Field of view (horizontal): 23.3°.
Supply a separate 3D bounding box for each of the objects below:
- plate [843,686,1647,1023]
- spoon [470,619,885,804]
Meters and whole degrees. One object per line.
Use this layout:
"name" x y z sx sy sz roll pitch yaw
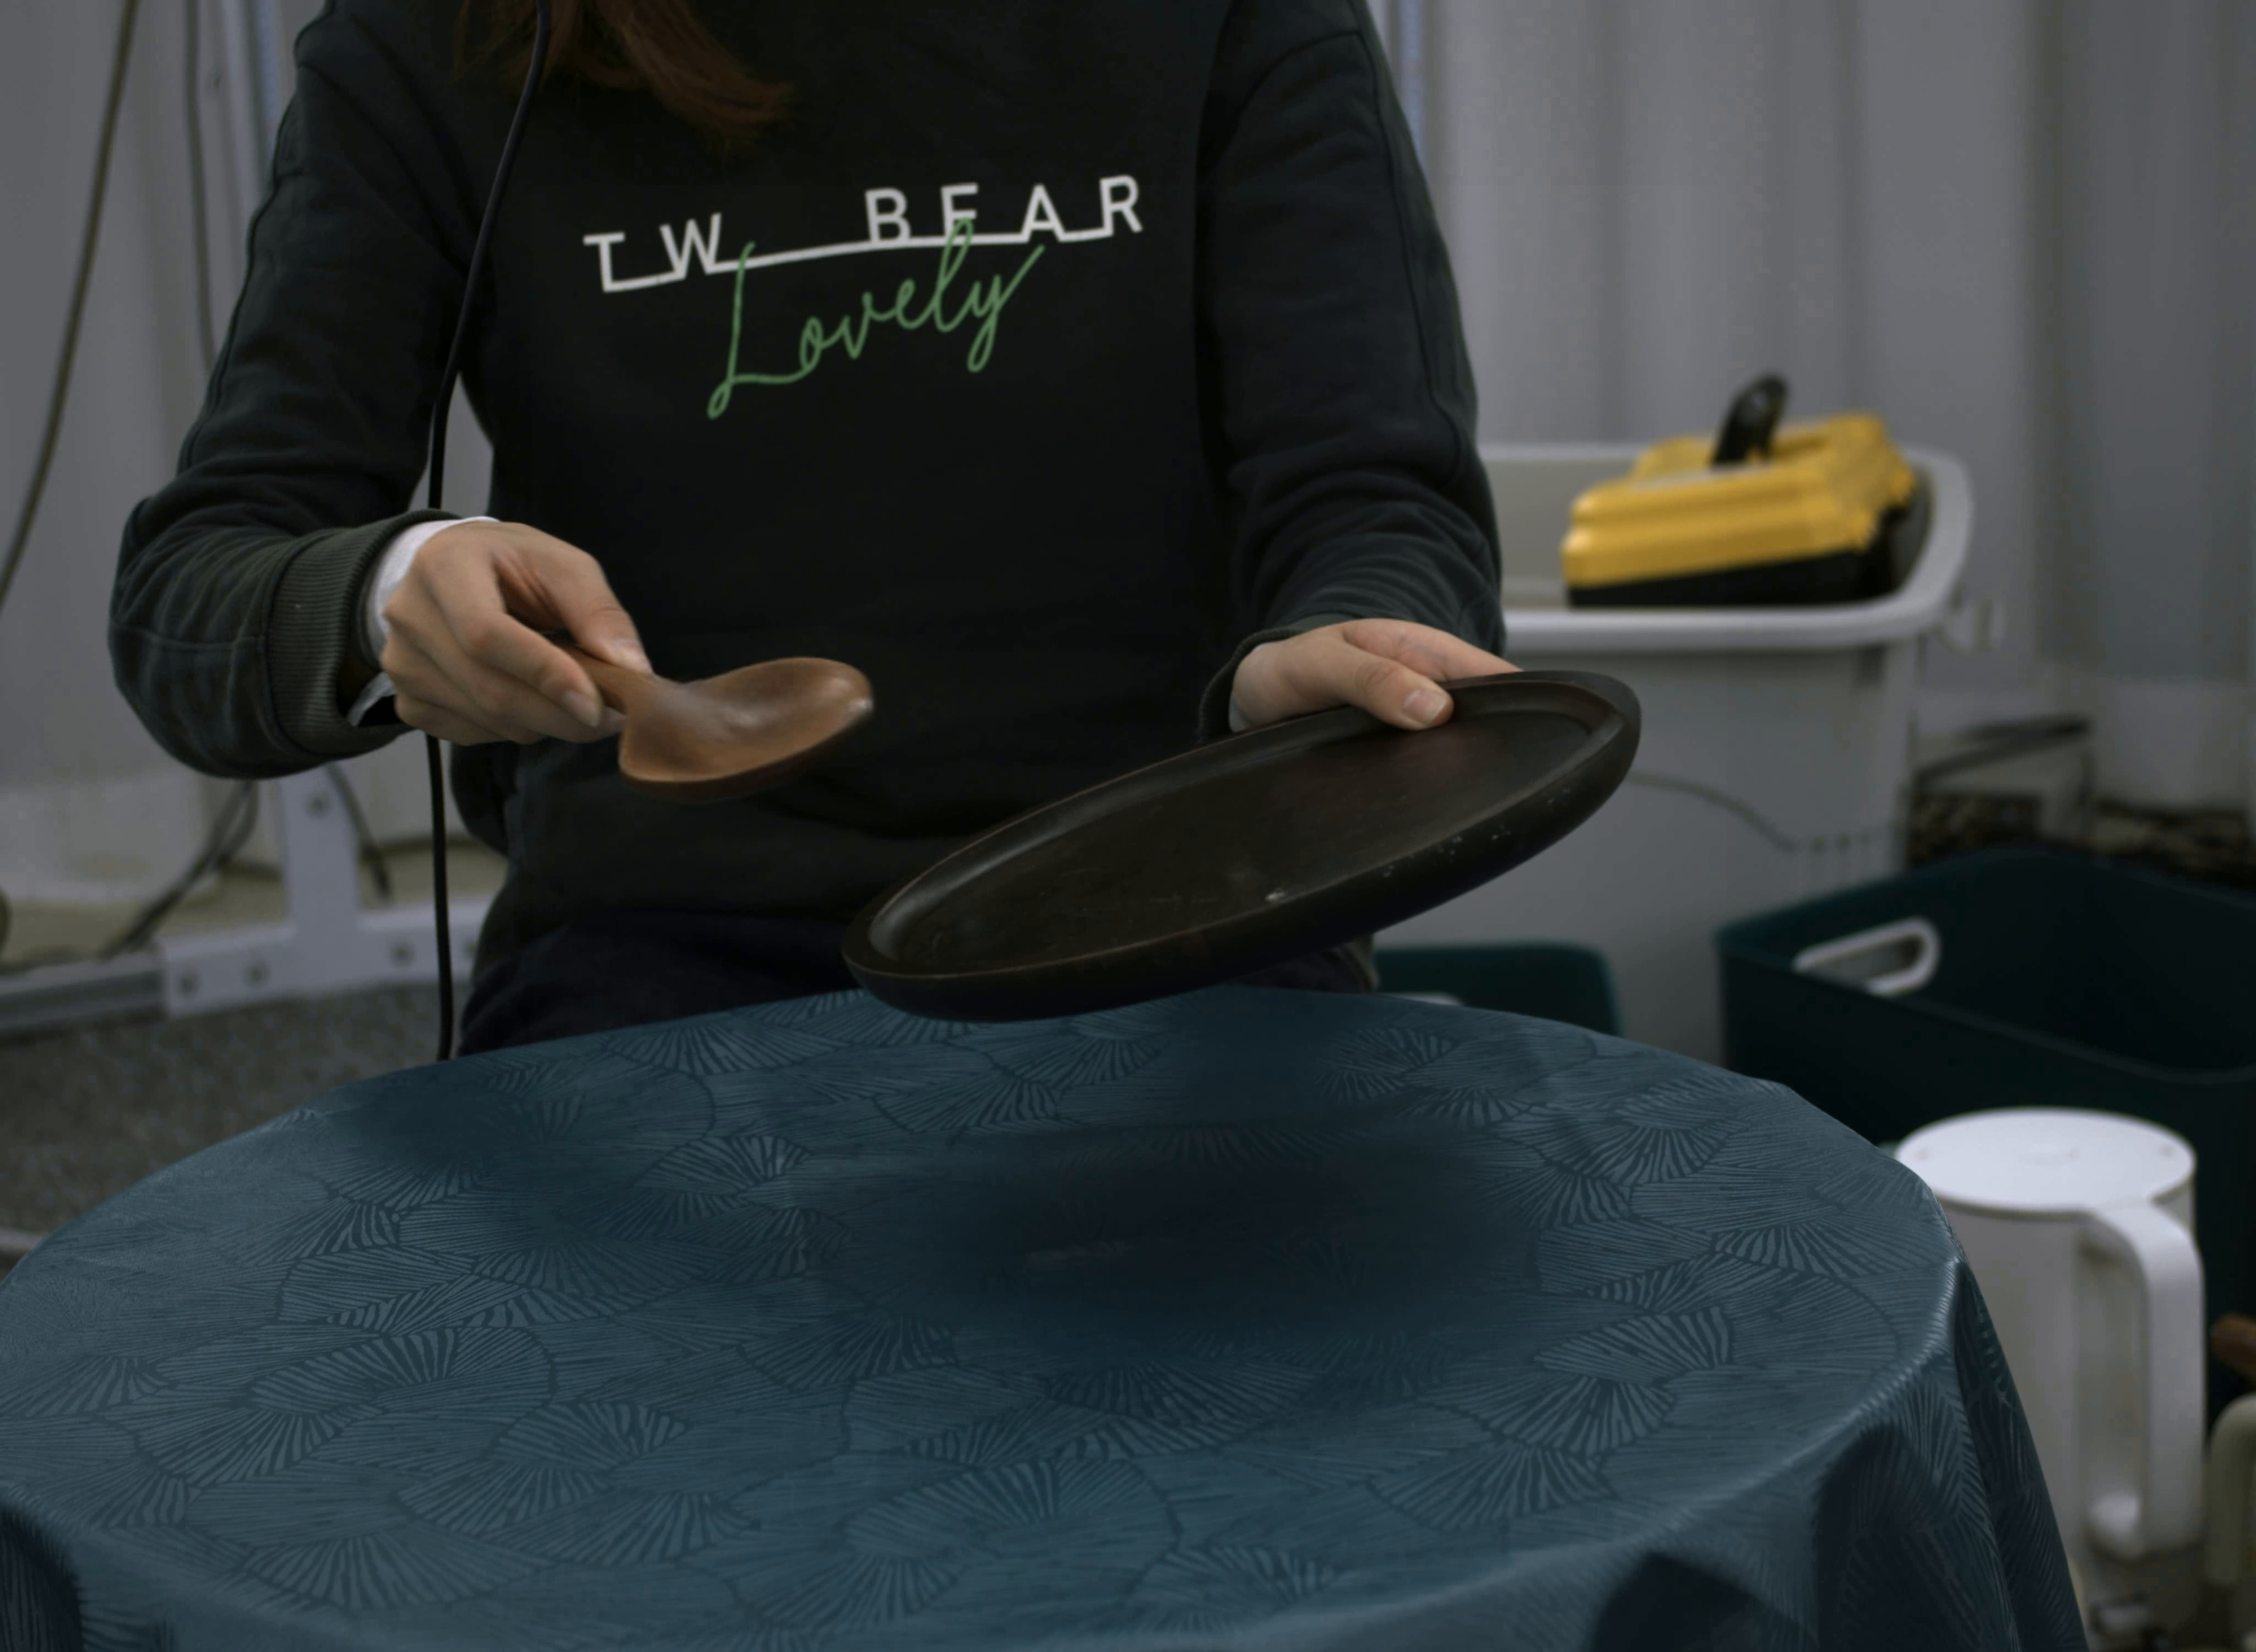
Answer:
"plate" 0.036 0.007 1.657 0.254 0.029 0.256 -16 12 3
"spoon" -0.143 -0.039 1.666 0.075 0.017 0.217 -32 27 -24
